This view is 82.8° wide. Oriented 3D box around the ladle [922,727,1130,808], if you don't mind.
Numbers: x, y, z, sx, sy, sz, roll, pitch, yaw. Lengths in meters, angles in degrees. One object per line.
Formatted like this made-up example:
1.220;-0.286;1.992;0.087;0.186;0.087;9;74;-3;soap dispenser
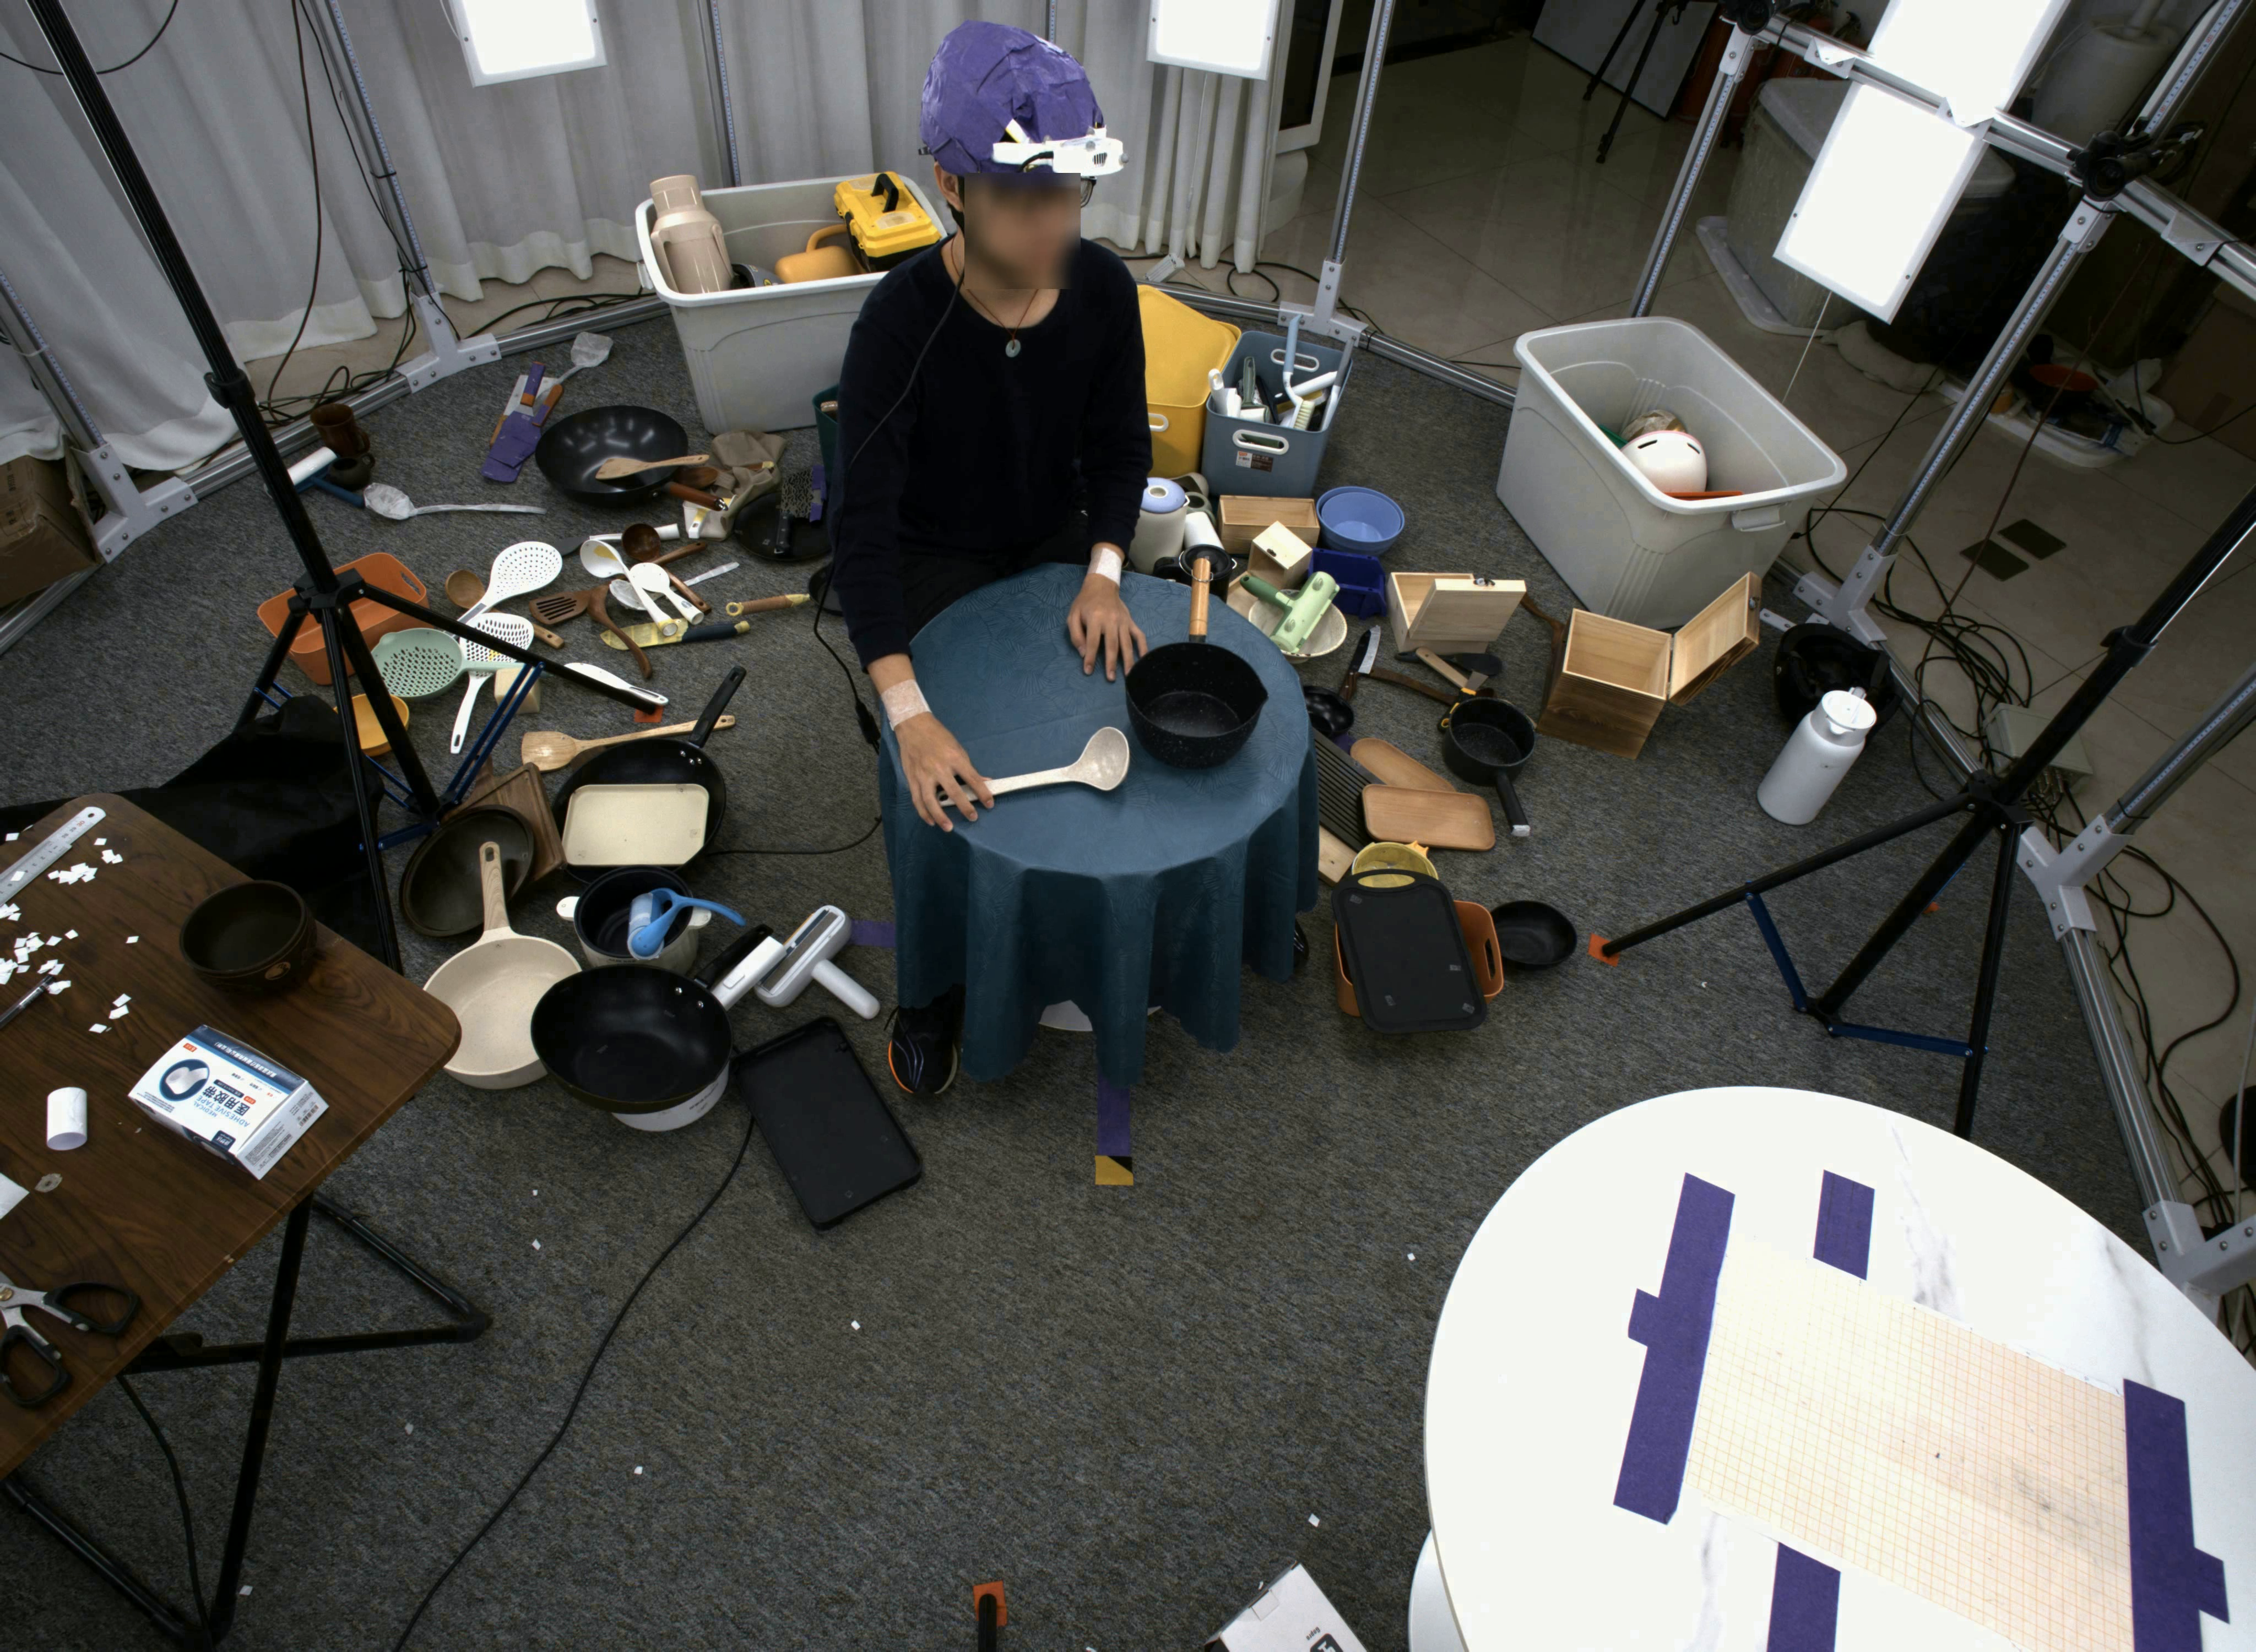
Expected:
-0.132;-0.069;1.674;0.274;0.068;0.091;-11;66;-14;ladle

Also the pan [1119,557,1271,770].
0.093;-0.229;1.804;0.207;0.105;0.351;3;50;1;pan
